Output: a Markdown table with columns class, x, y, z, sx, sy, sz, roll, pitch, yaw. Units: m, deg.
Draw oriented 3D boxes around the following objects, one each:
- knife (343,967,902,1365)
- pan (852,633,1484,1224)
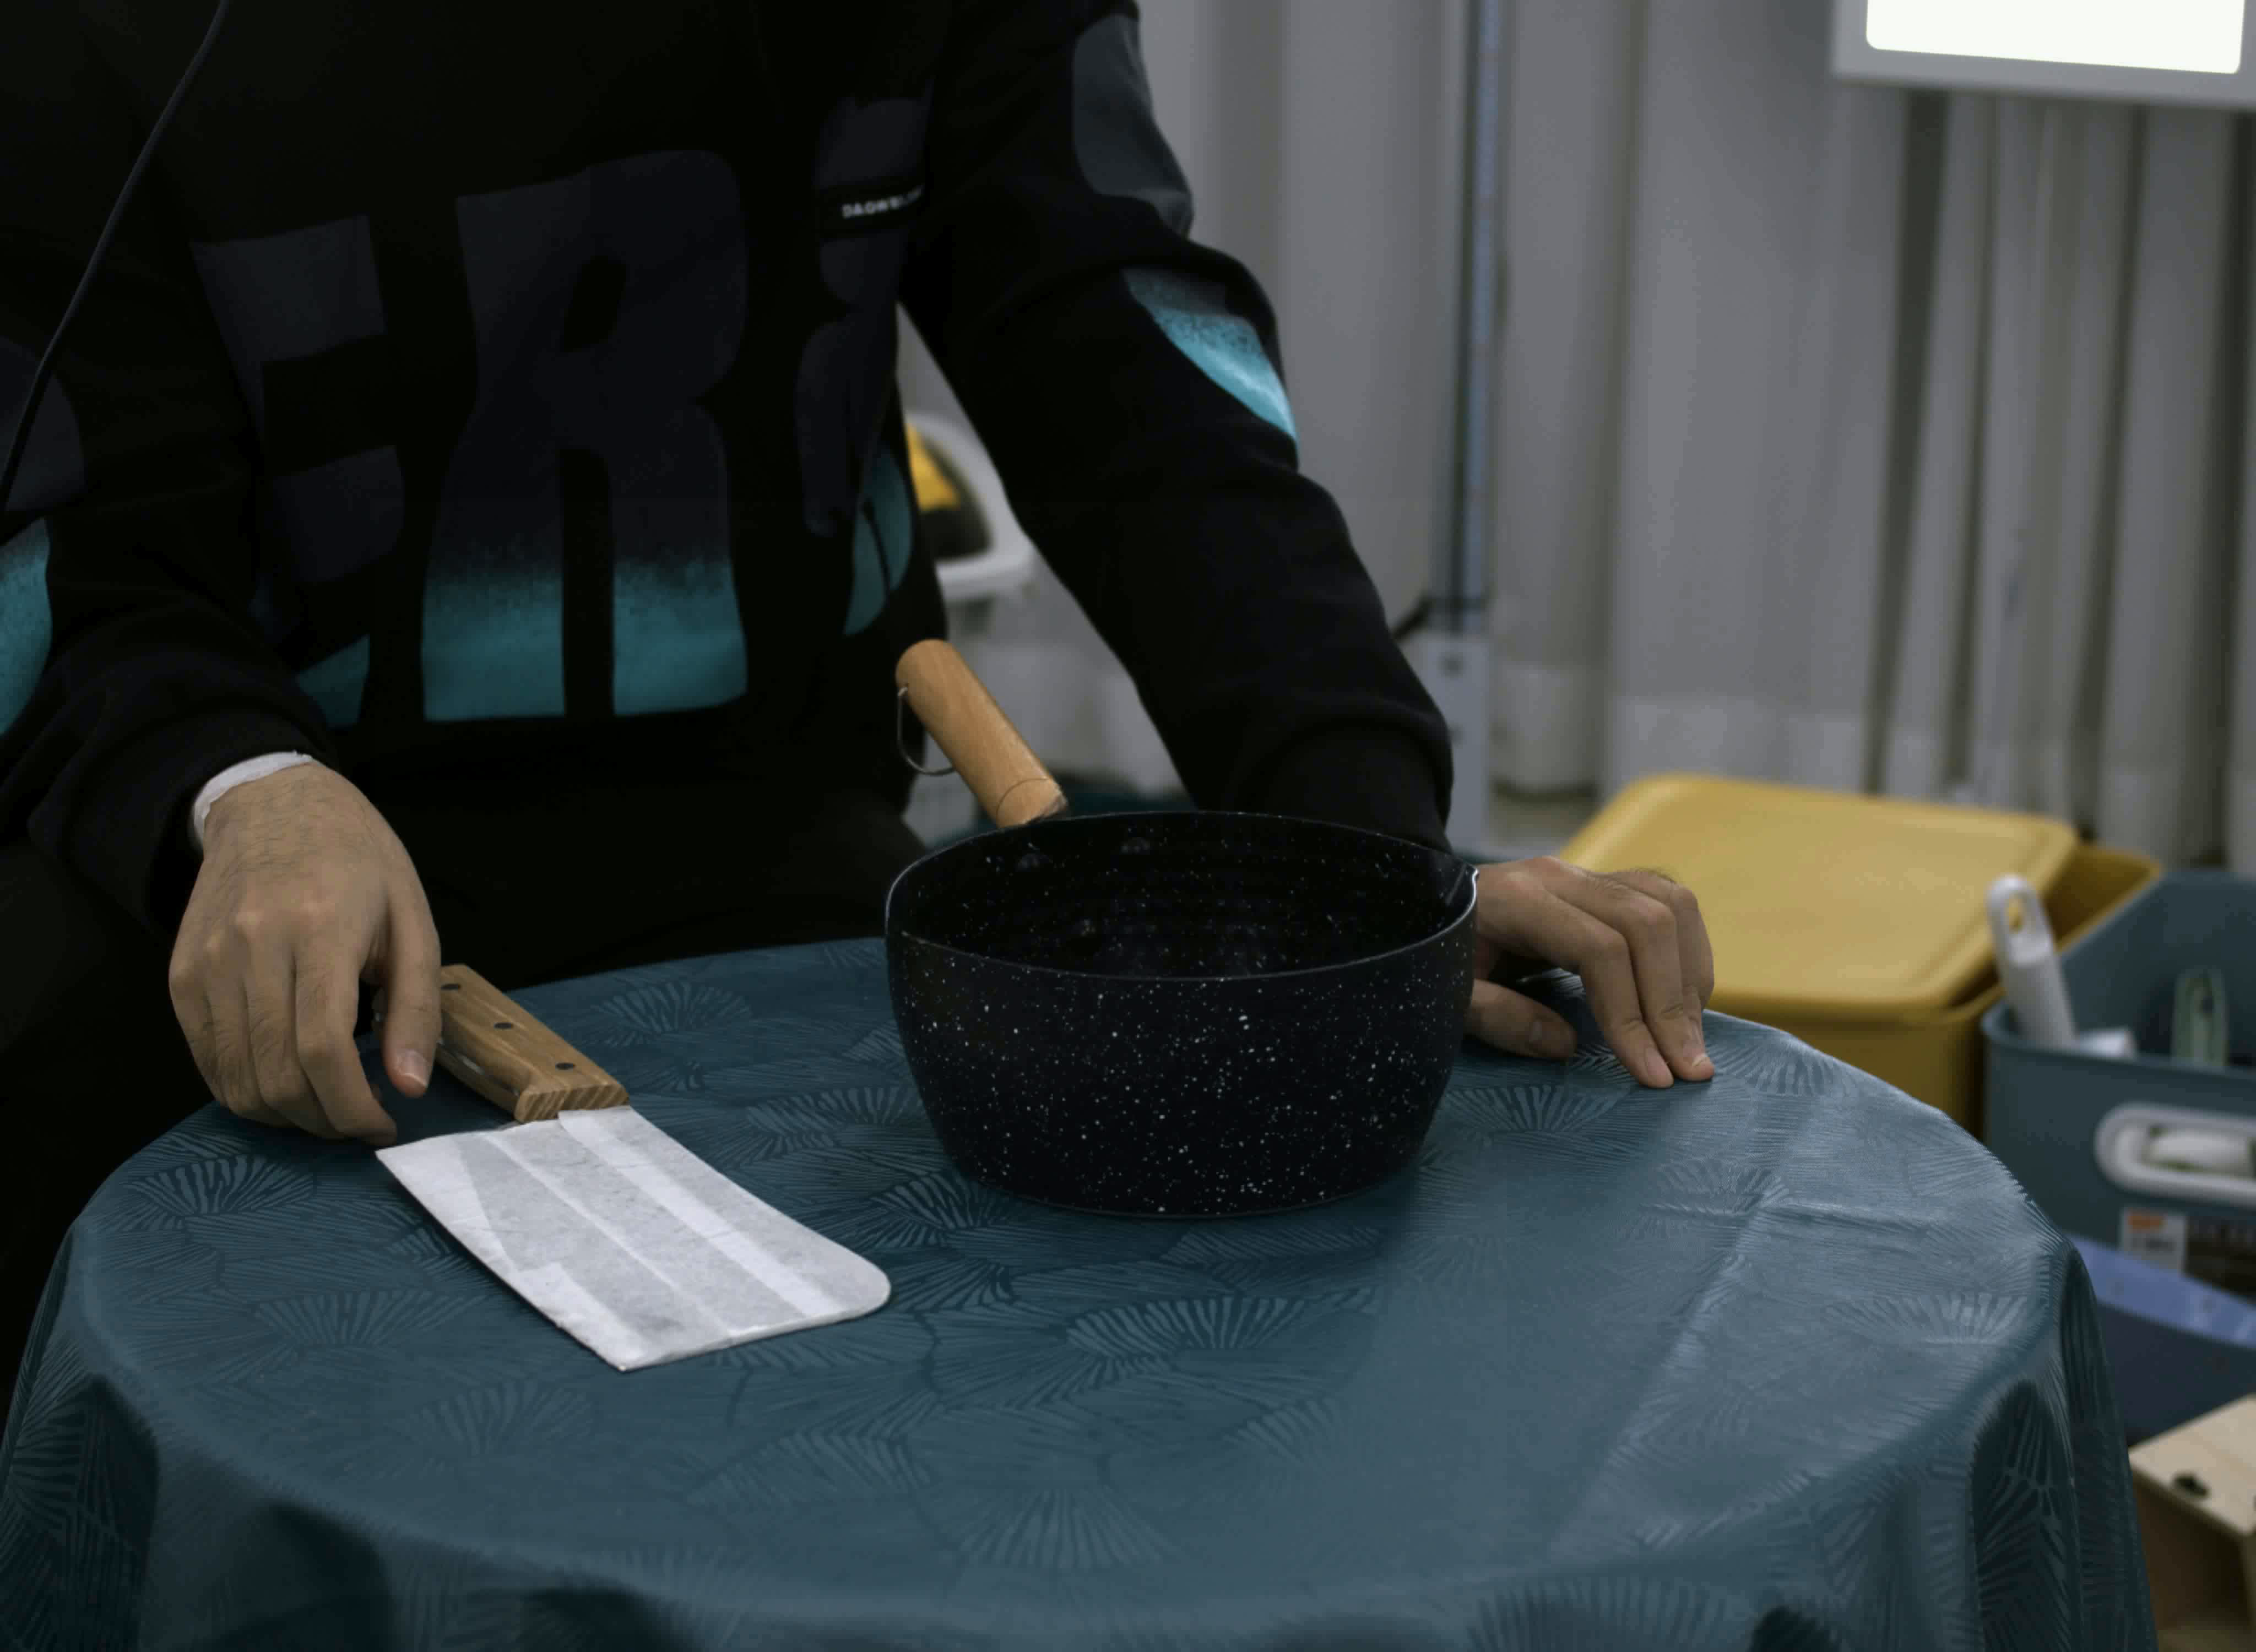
| class | x | y | z | sx | sy | sz | roll | pitch | yaw |
| --- | --- | --- | --- | --- | --- | --- | --- | --- | --- |
| knife | -0.172 | 0.102 | 1.622 | 0.114 | 0.022 | 0.311 | -8 | 20 | -26 |
| pan | -0.013 | 0.028 | 1.719 | 0.208 | 0.109 | 0.339 | -7 | 19 | -22 |
